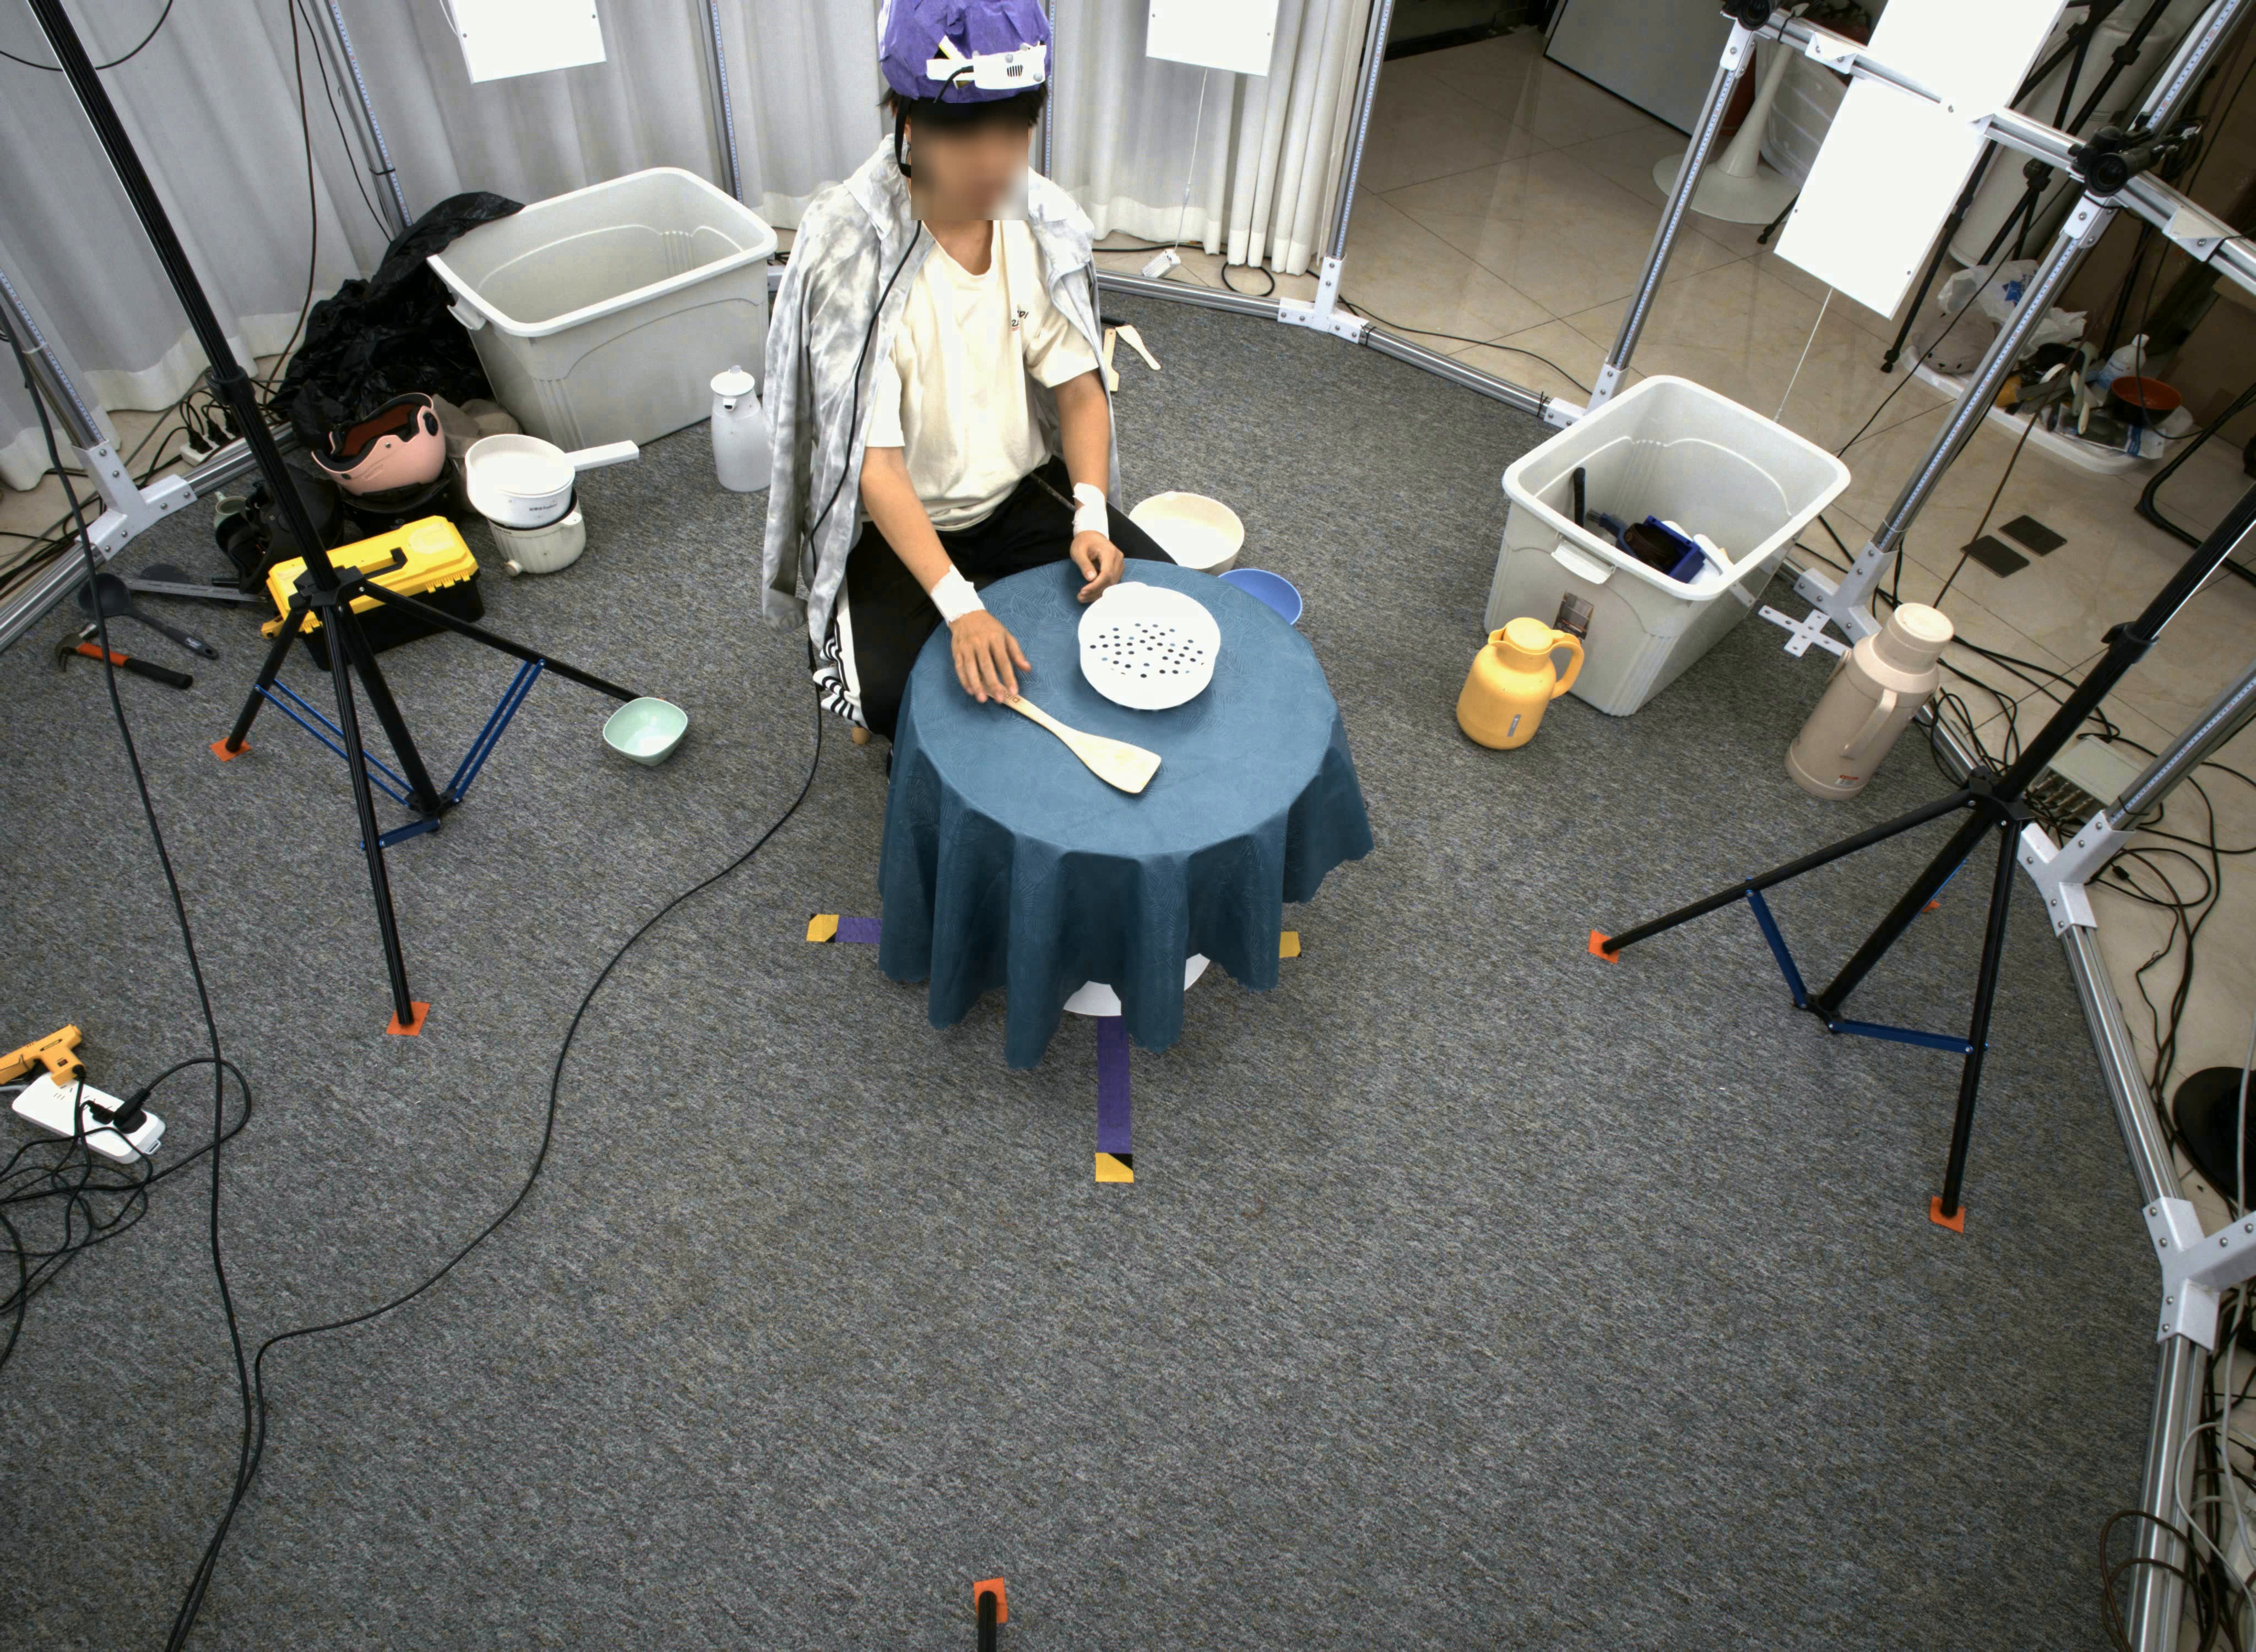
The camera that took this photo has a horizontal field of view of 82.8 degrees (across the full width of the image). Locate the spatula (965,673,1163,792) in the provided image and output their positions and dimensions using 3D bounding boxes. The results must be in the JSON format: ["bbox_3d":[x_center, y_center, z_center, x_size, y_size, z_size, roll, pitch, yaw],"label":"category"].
[{"bbox_3d":[-0.095,-0.138,1.763,0.331,0.016,0.081,30,53,22],"label":"spatula"}]

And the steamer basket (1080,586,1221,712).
[{"bbox_3d":[0.030,-0.250,1.838,0.202,0.067,0.236,-12,50,-16],"label":"steamer basket"}]
